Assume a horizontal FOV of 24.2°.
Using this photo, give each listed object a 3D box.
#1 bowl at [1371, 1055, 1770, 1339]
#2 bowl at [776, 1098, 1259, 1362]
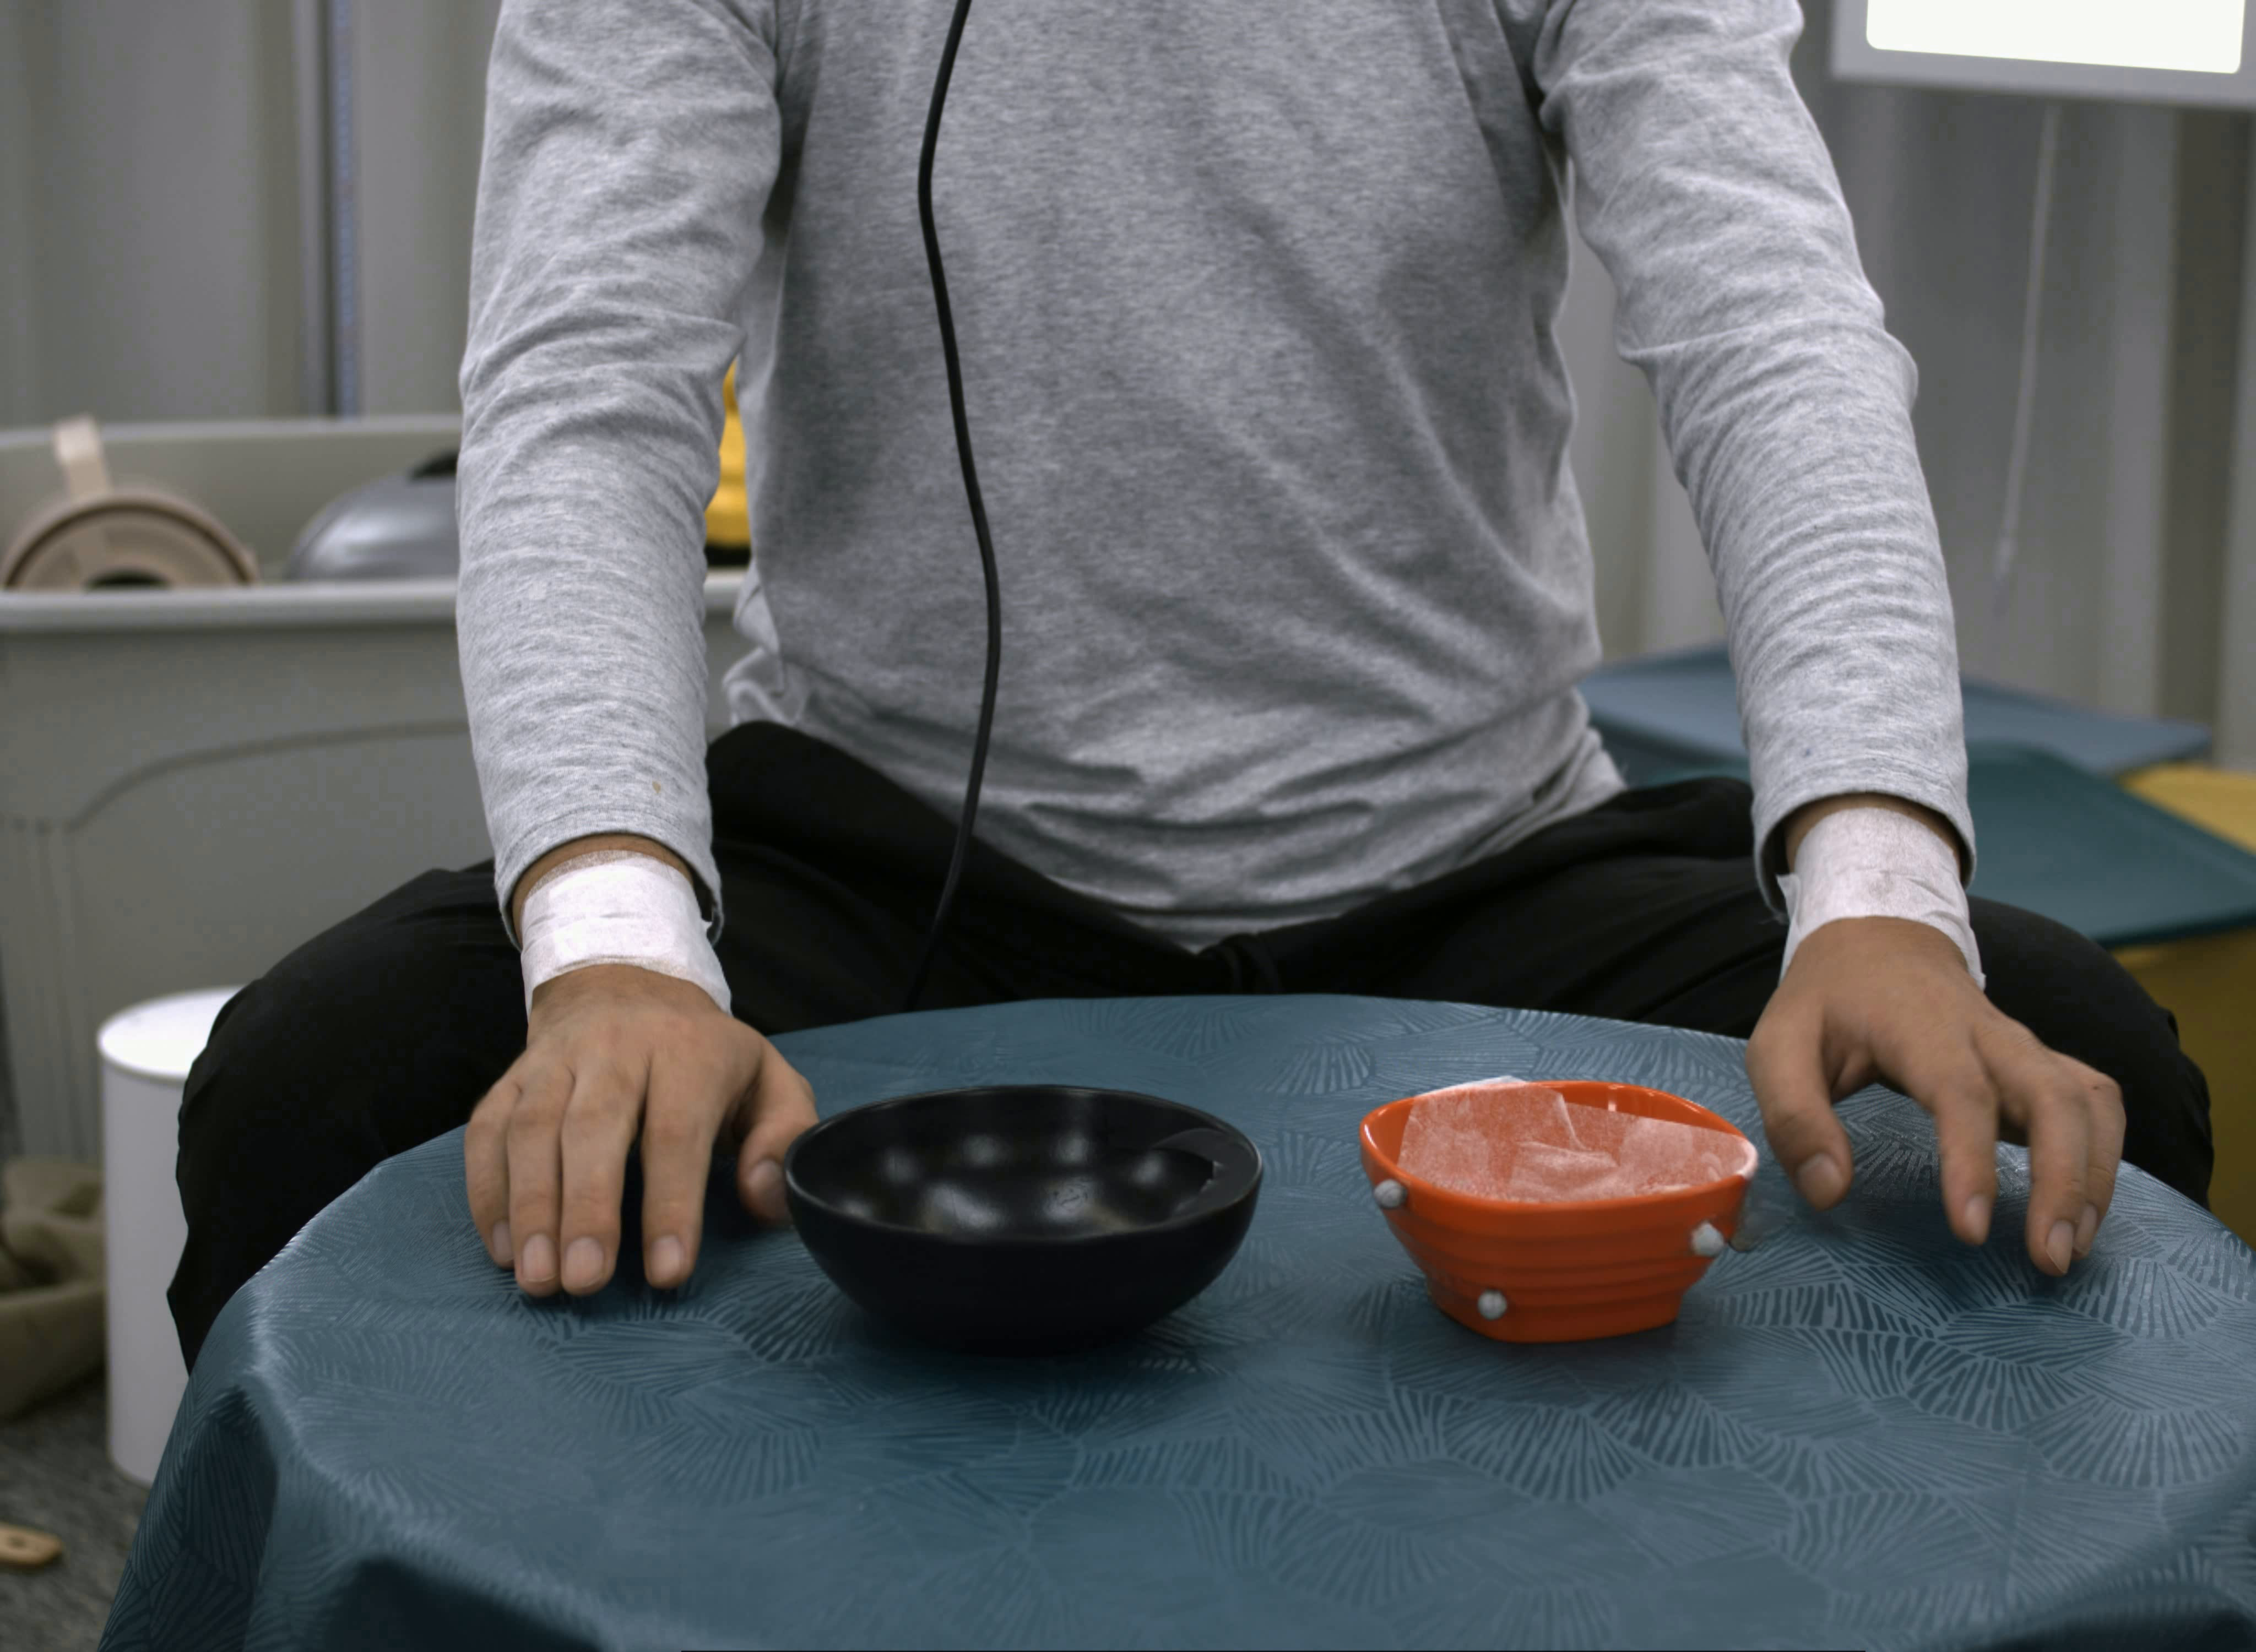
[{"bbox_3d":[0.127,0.111,1.527,0.118,0.052,0.118,1,21,0],"label":"bowl"},{"bbox_3d":[-0.031,0.120,1.512,0.139,0.050,0.139,1,12,0],"label":"bowl"}]
